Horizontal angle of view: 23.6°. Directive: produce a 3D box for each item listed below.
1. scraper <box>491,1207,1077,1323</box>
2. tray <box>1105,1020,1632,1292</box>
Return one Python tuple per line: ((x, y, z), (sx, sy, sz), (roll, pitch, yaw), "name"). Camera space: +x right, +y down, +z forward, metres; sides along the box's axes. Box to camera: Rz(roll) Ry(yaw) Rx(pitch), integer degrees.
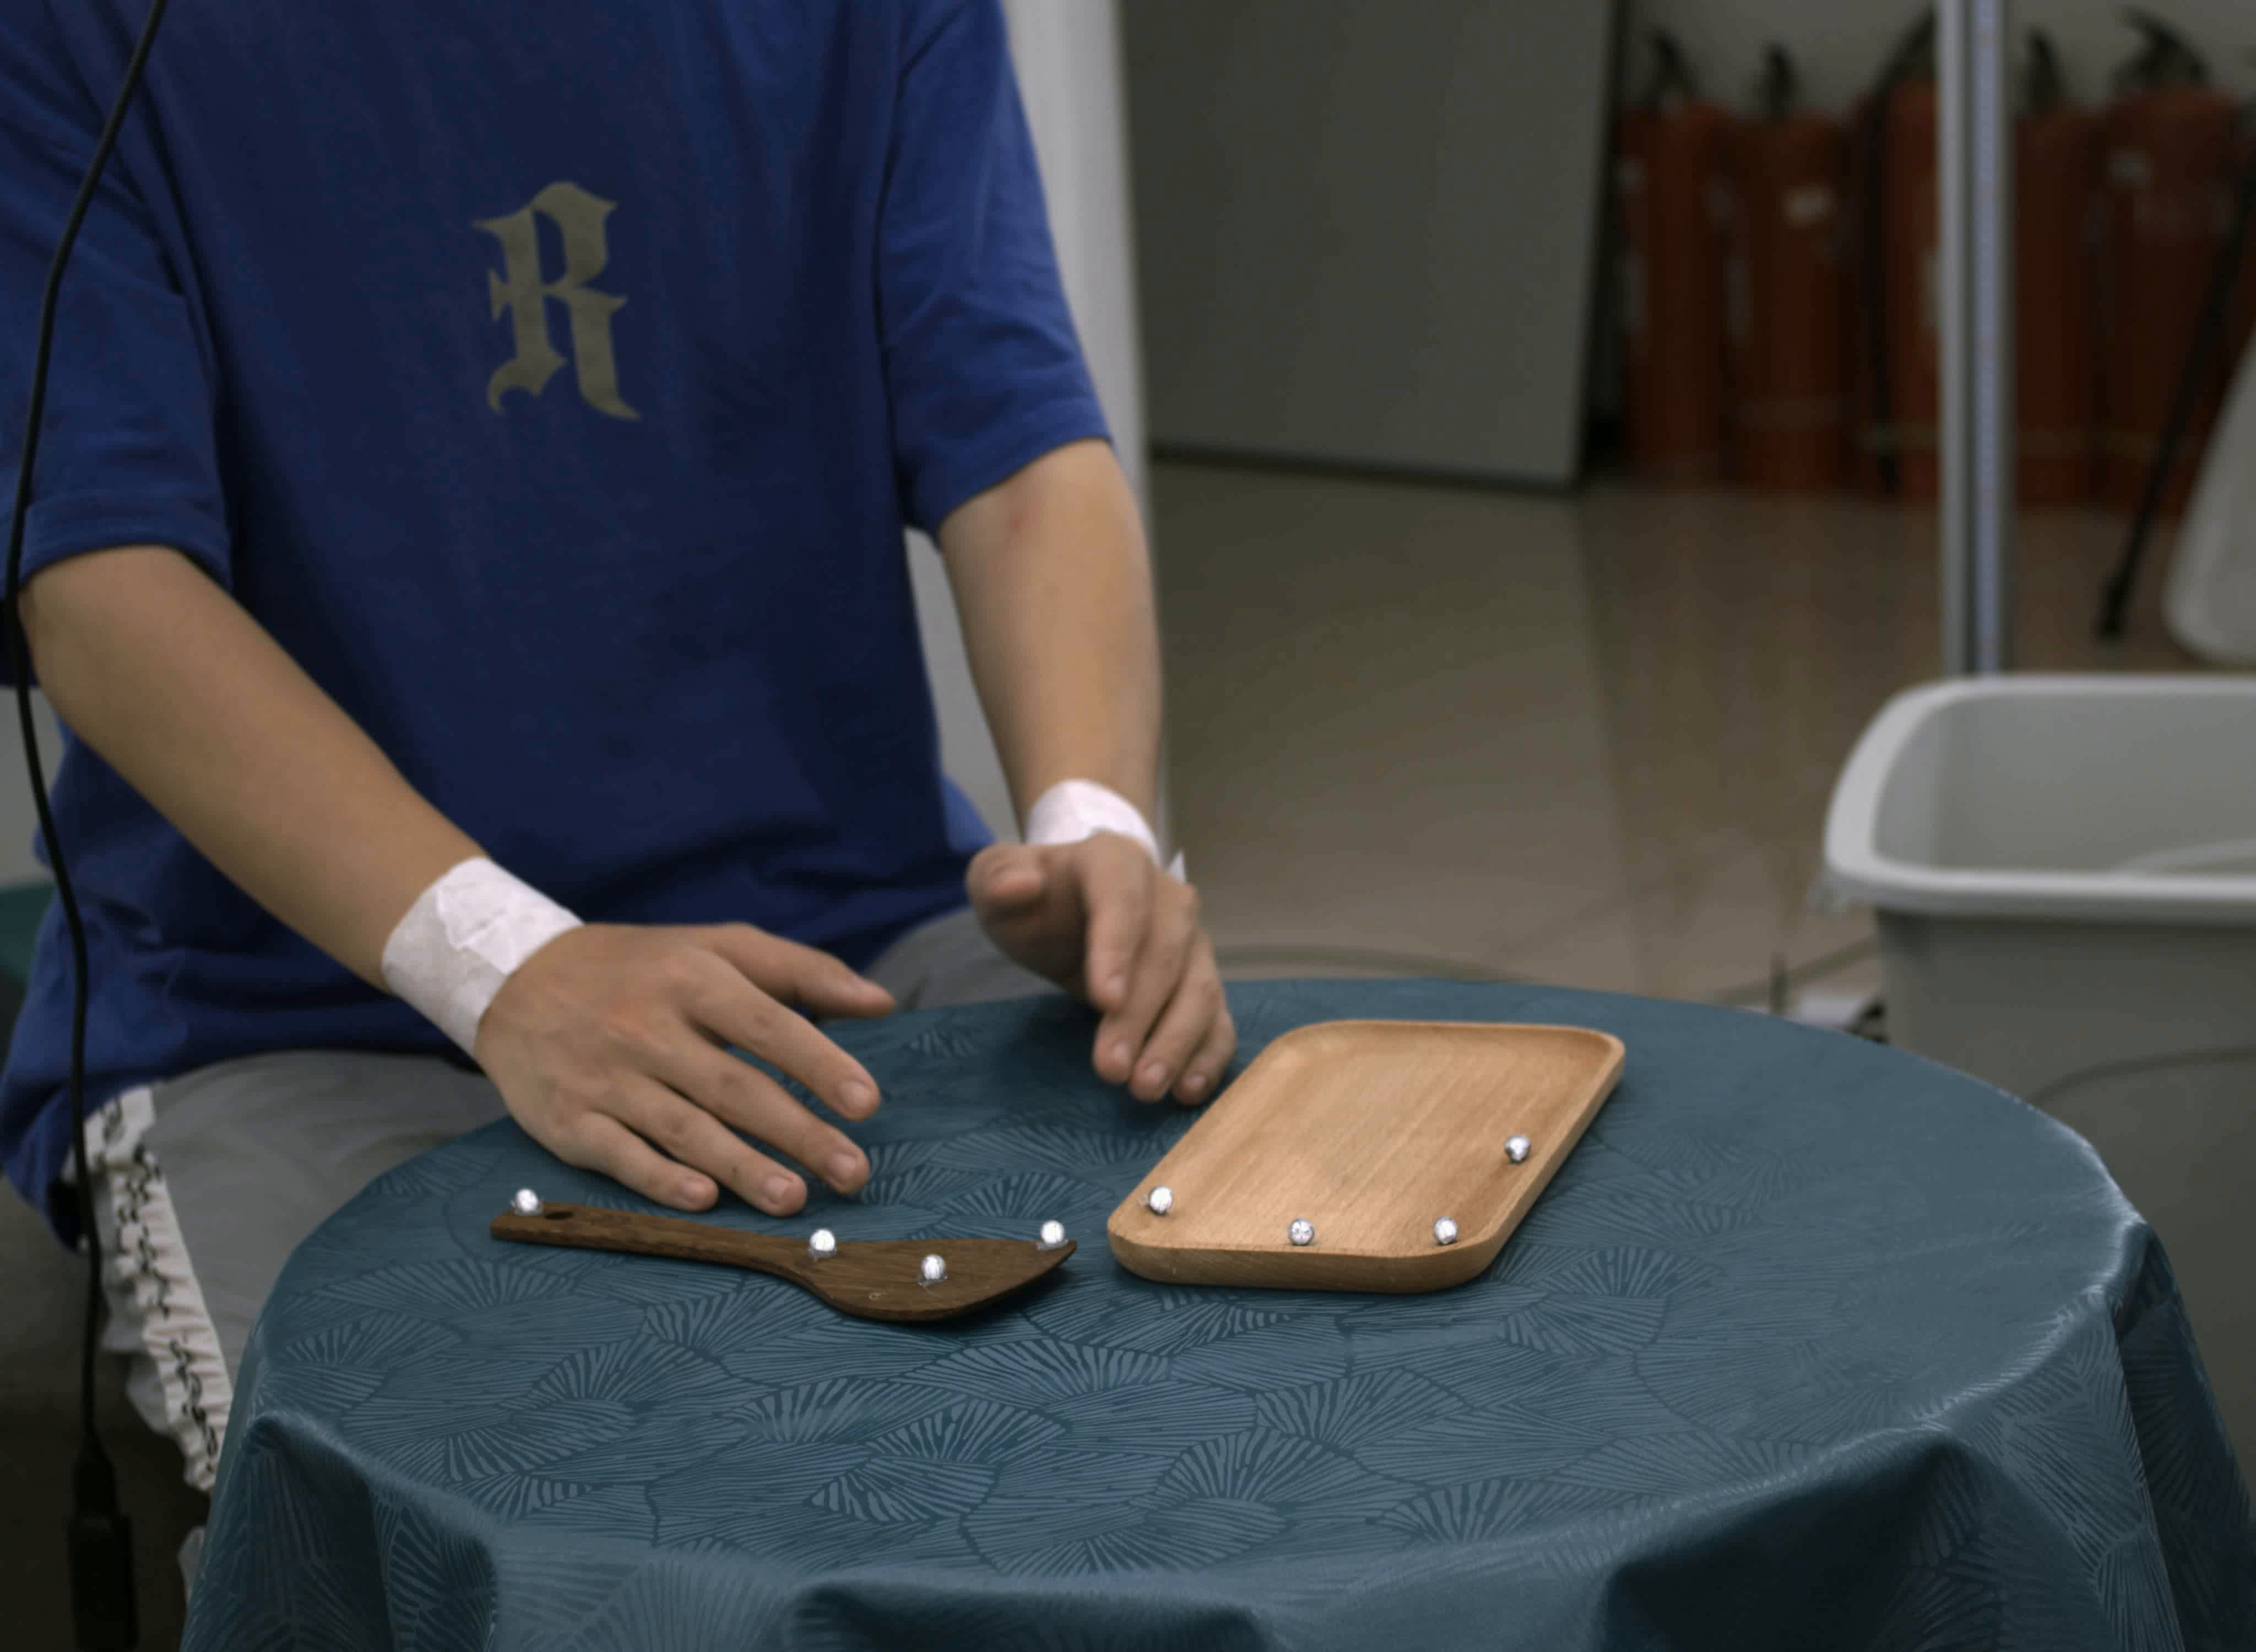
((-0.116, 0.137, 1.723), (0.212, 0.011, 0.074), (4, 15, 33), "scraper")
((0.083, 0.106, 1.773), (0.130, 0.023, 0.248), (3, 15, 18), "tray")
